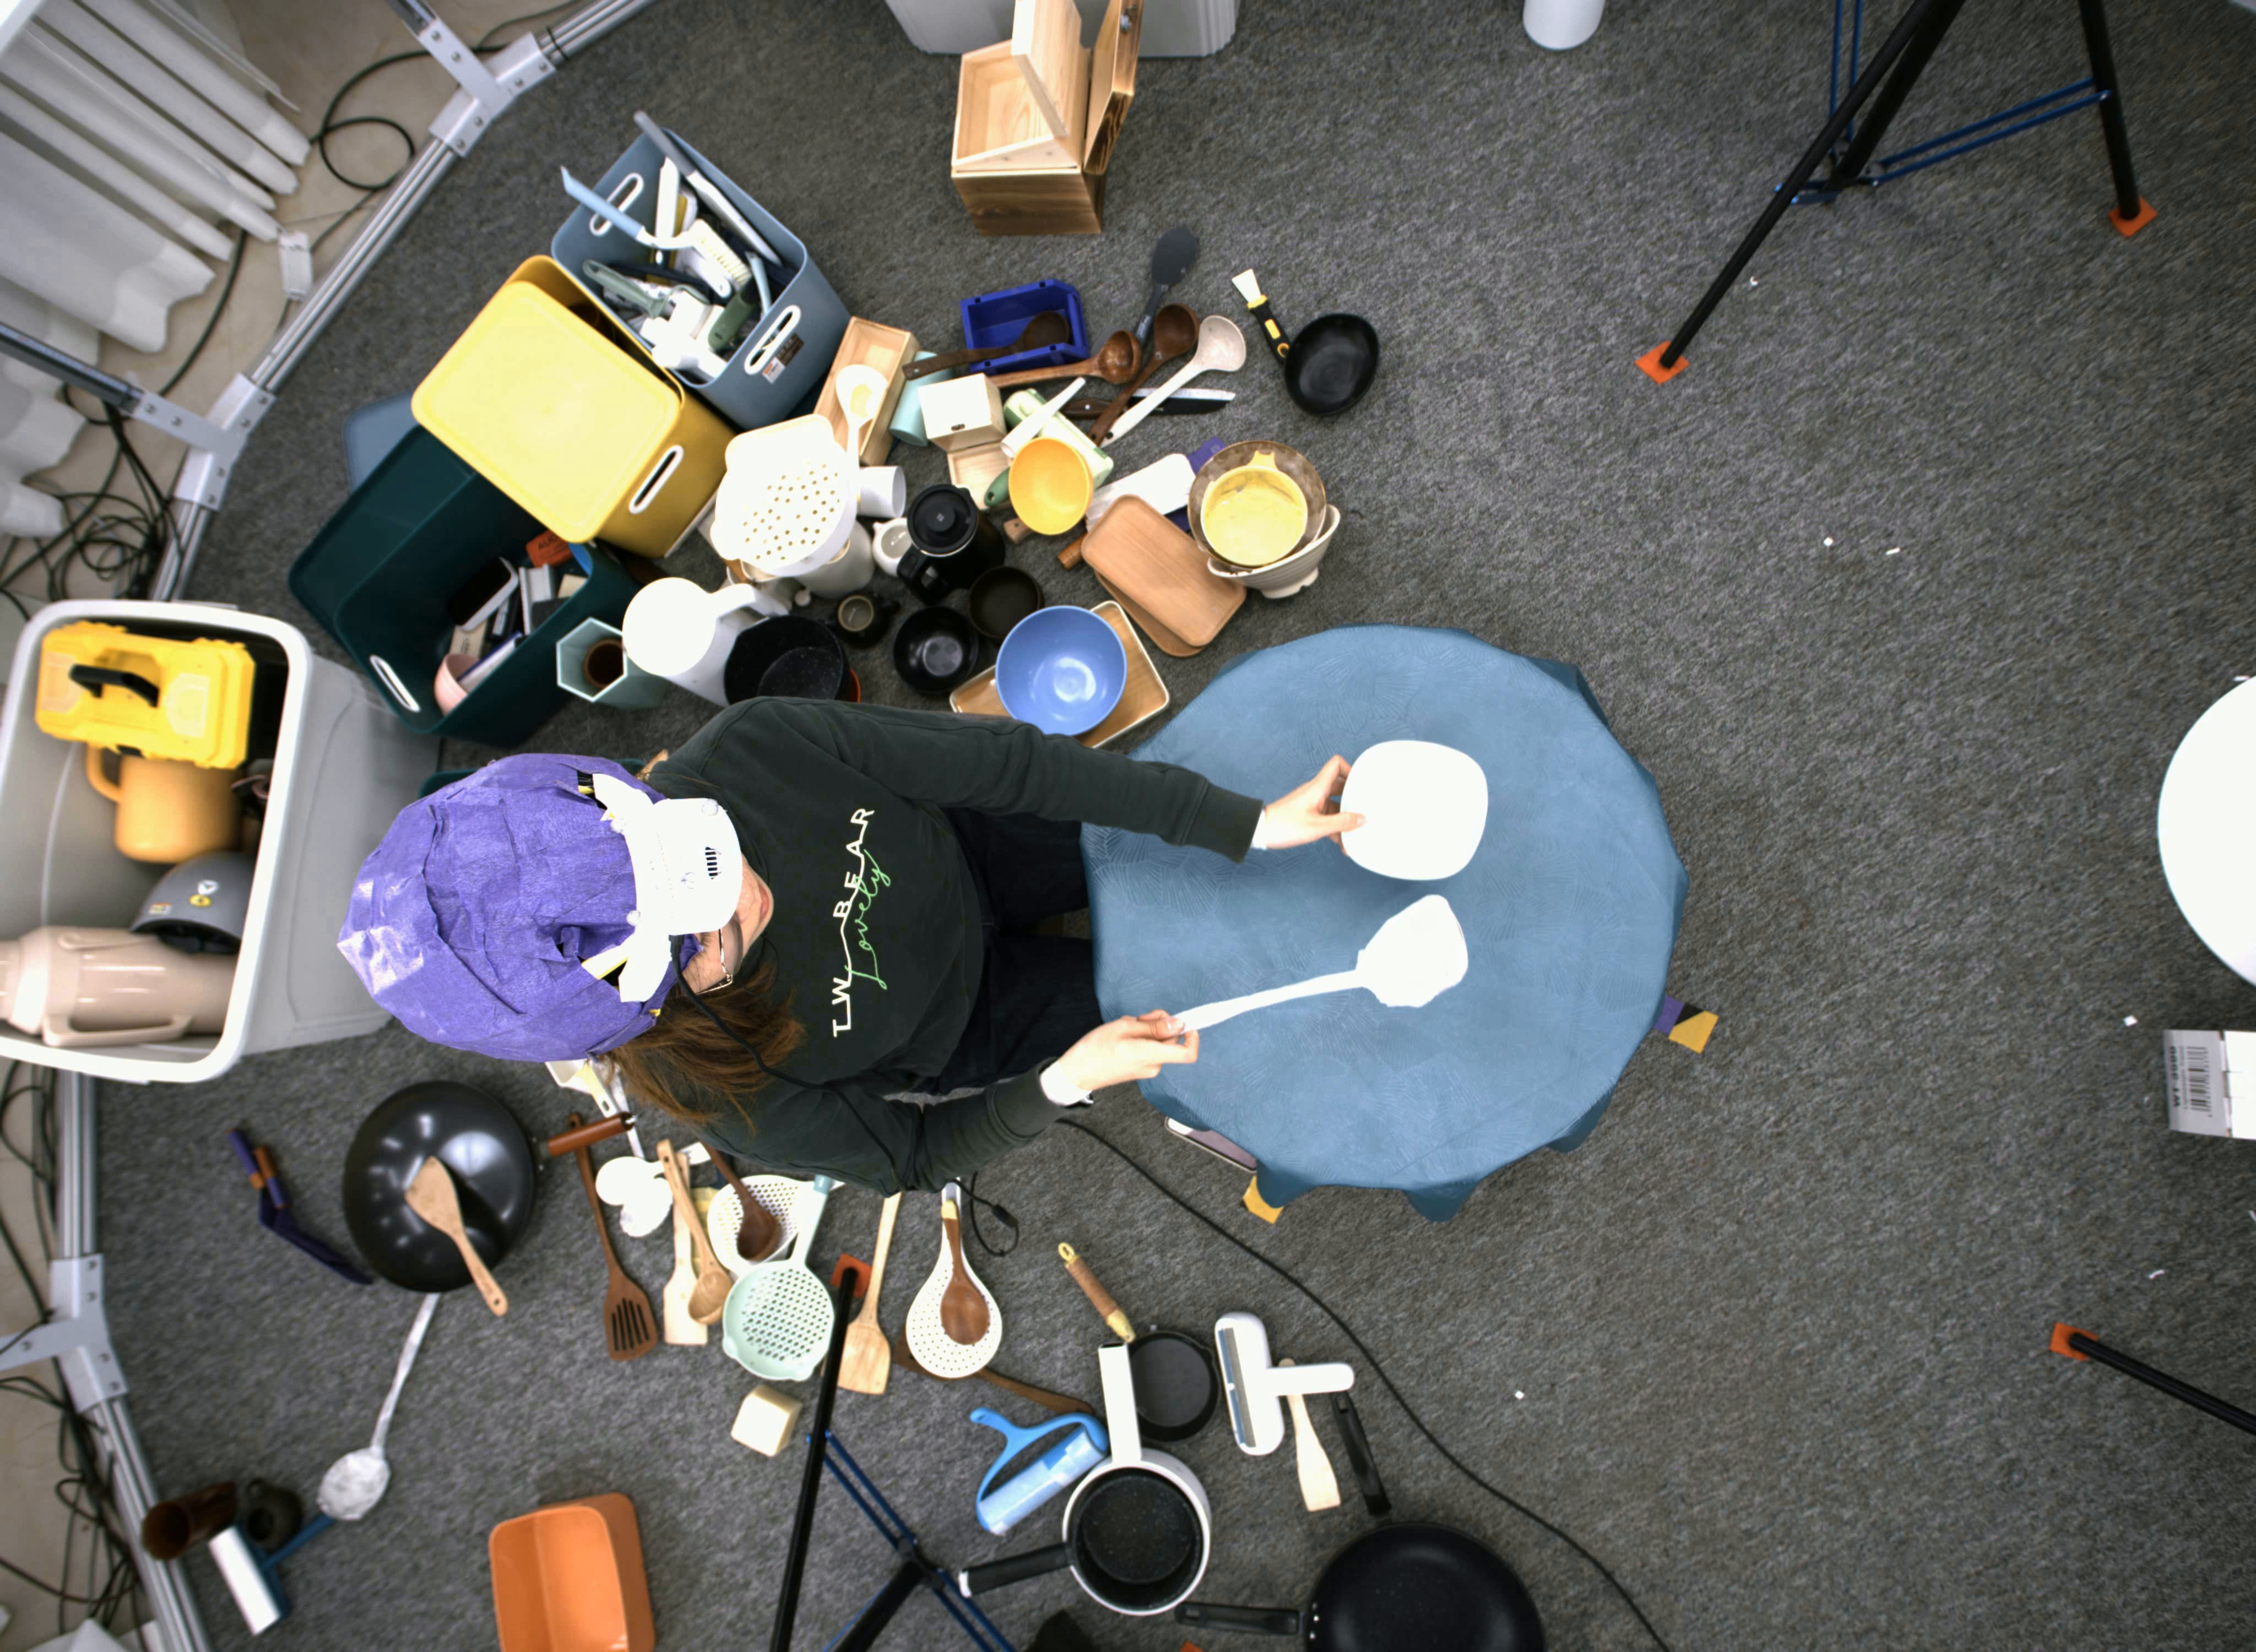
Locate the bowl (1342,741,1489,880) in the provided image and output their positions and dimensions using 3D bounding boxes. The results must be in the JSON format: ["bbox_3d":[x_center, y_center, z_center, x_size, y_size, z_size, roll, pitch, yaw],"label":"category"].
[{"bbox_3d":[0.282,-0.023,1.361,0.152,0.057,0.154,2,109,7],"label":"bowl"}]

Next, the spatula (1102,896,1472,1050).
[{"bbox_3d":[0.143,0.157,1.309,0.367,0.045,0.096,-16,55,10],"label":"spatula"}]
